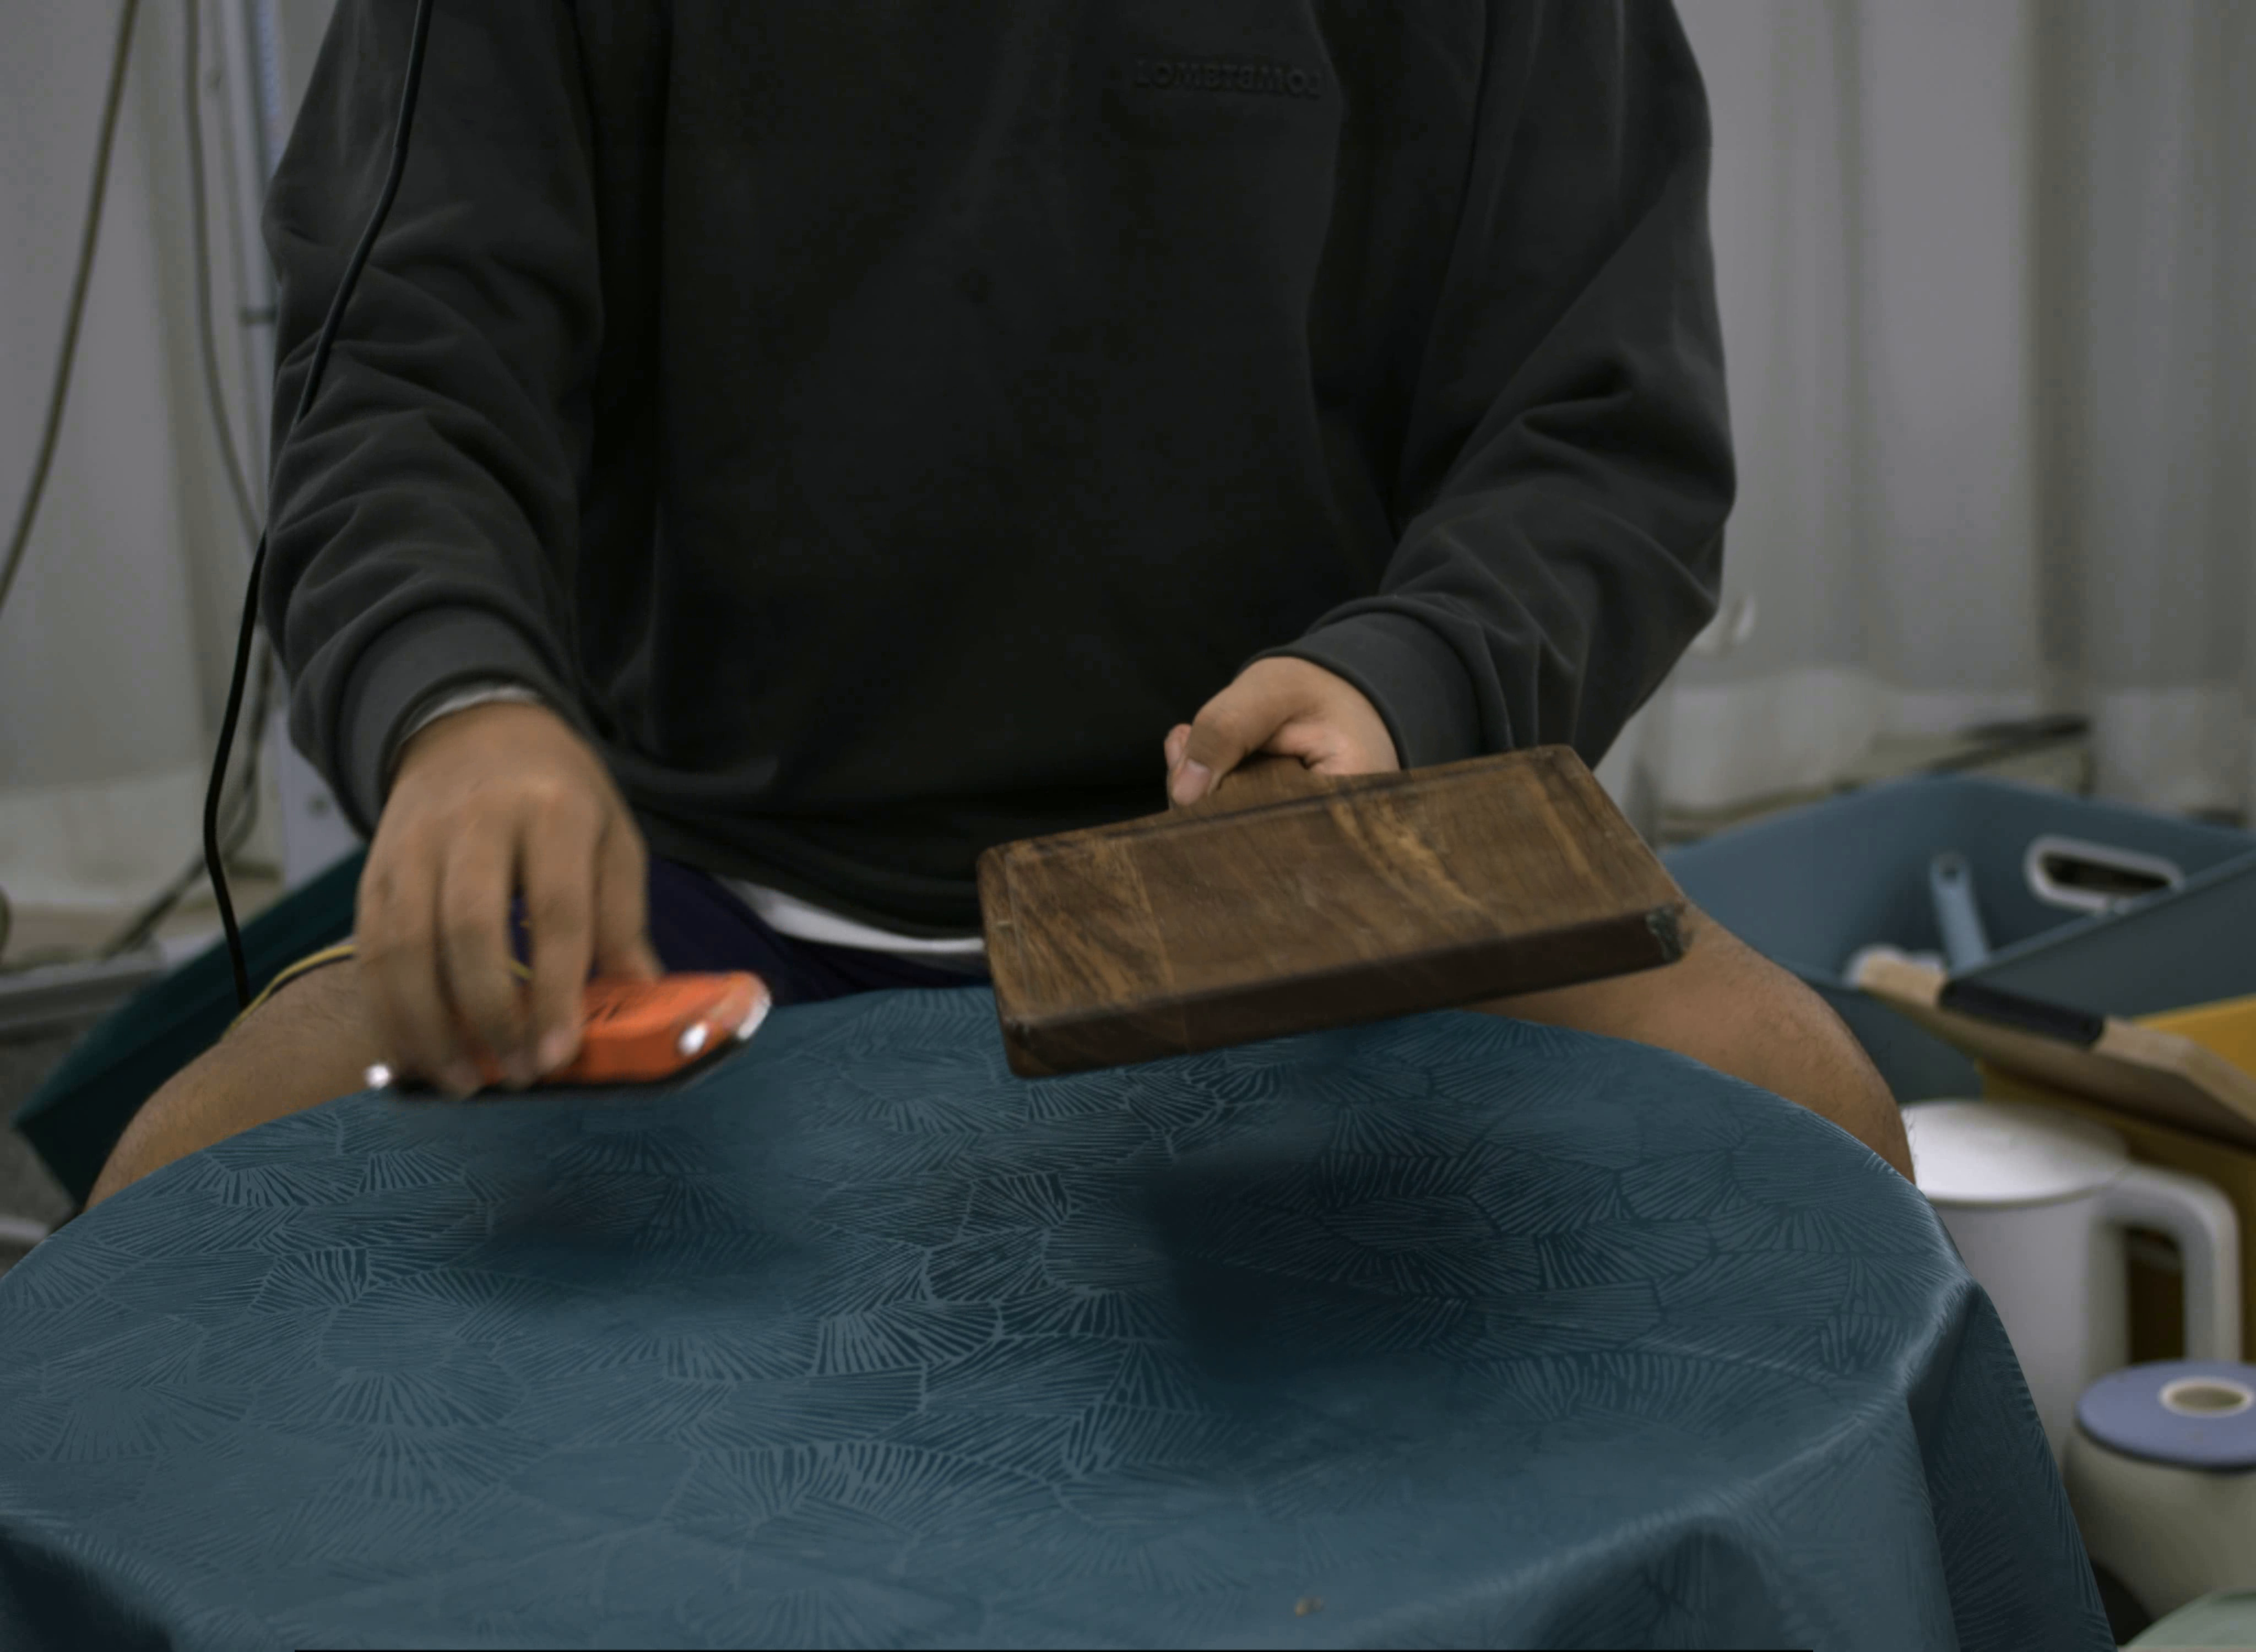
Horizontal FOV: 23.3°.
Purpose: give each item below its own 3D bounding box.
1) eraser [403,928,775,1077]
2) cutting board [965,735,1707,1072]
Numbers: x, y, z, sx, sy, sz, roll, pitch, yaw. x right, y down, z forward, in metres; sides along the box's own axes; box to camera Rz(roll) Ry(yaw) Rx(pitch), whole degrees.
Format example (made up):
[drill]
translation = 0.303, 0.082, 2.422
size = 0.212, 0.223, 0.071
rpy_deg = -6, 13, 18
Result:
[eraser]
translation = -0.167, 0.055, 1.697
size = 0.108, 0.023, 0.059
rpy_deg = -6, 16, 28
[cutting board]
translation = 0.051, 0.011, 1.684
size = 0.200, 0.023, 0.354
rpy_deg = -11, 11, -2
